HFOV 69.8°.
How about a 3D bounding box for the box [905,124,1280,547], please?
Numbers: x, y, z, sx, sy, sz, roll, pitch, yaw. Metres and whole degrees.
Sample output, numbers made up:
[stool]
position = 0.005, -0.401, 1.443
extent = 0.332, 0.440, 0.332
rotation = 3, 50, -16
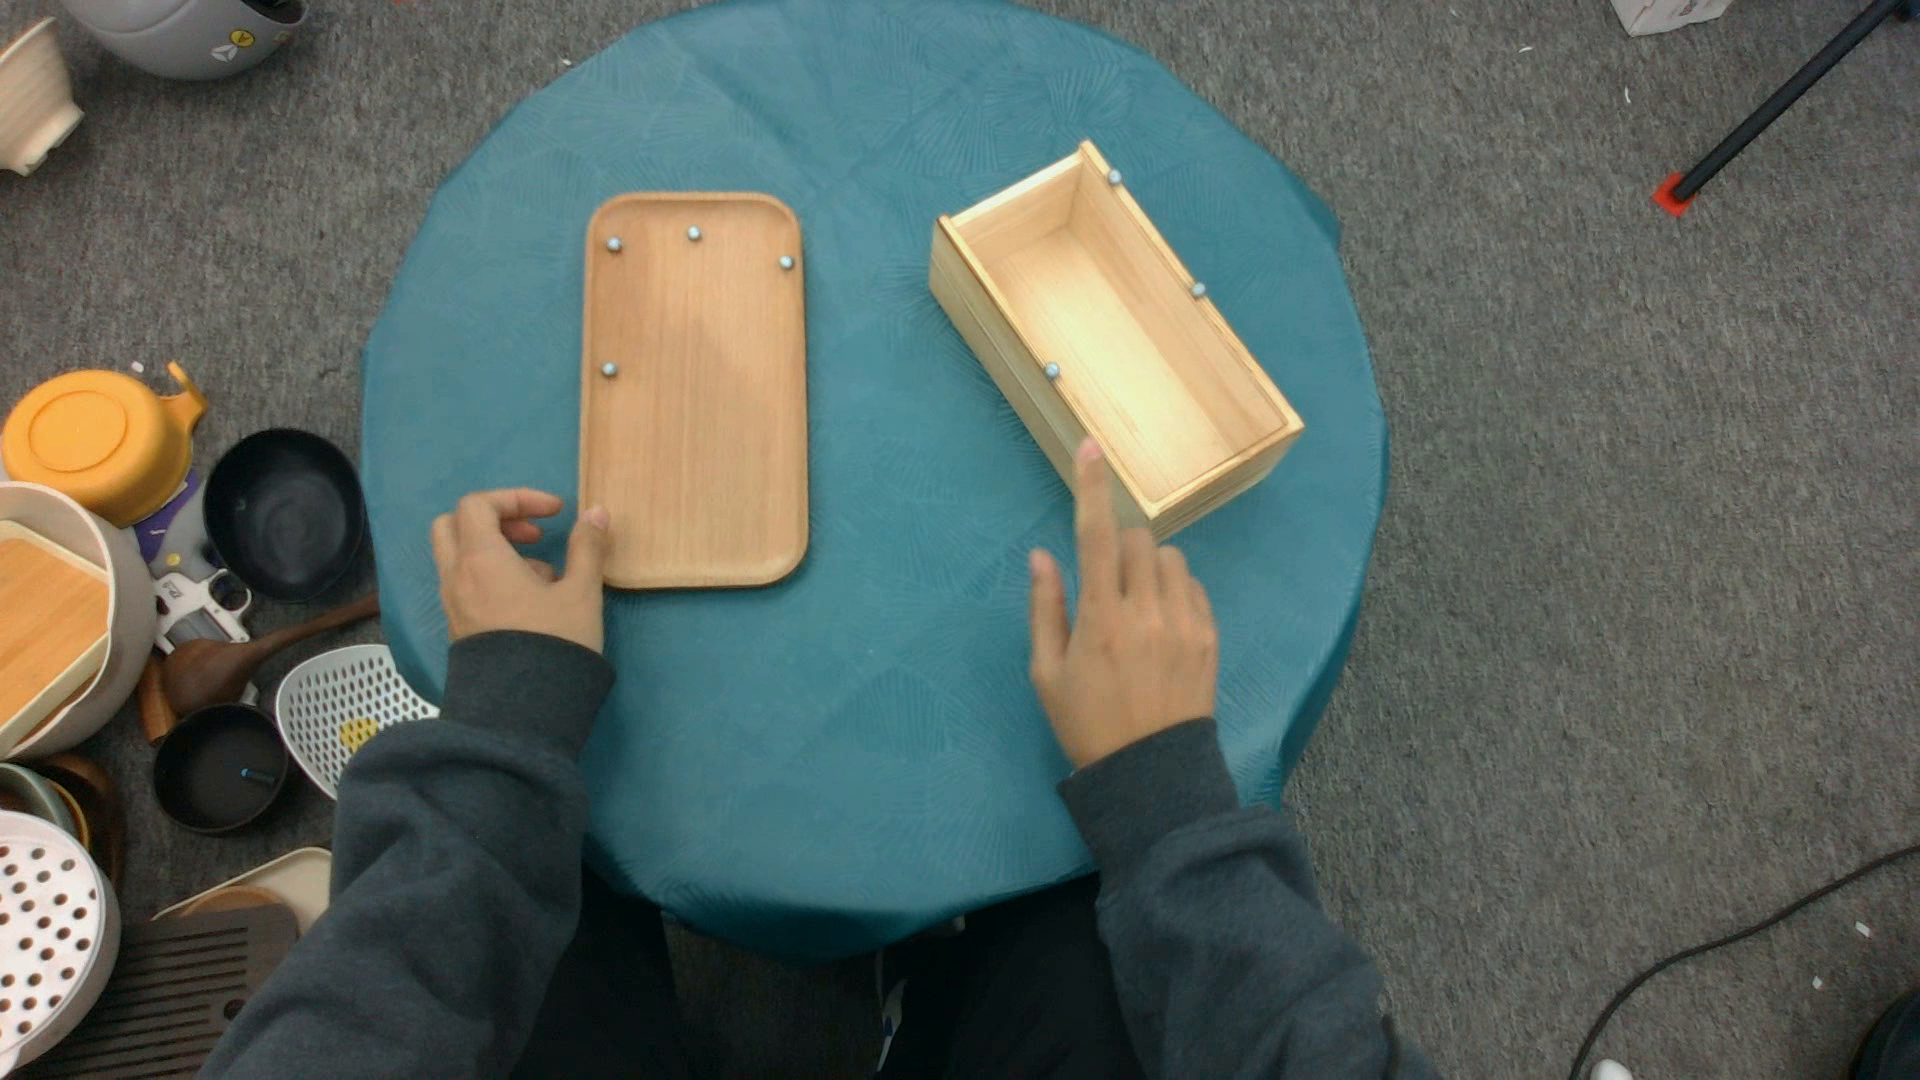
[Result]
[box]
position = 0.070, -0.117, 0.793
extent = 0.108, 0.080, 0.211
rotation = -31, 77, -15

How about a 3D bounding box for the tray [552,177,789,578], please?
[tray]
position = -0.166, -0.098, 0.796
extent = 0.130, 0.023, 0.251
rotation = -3, 72, -4
